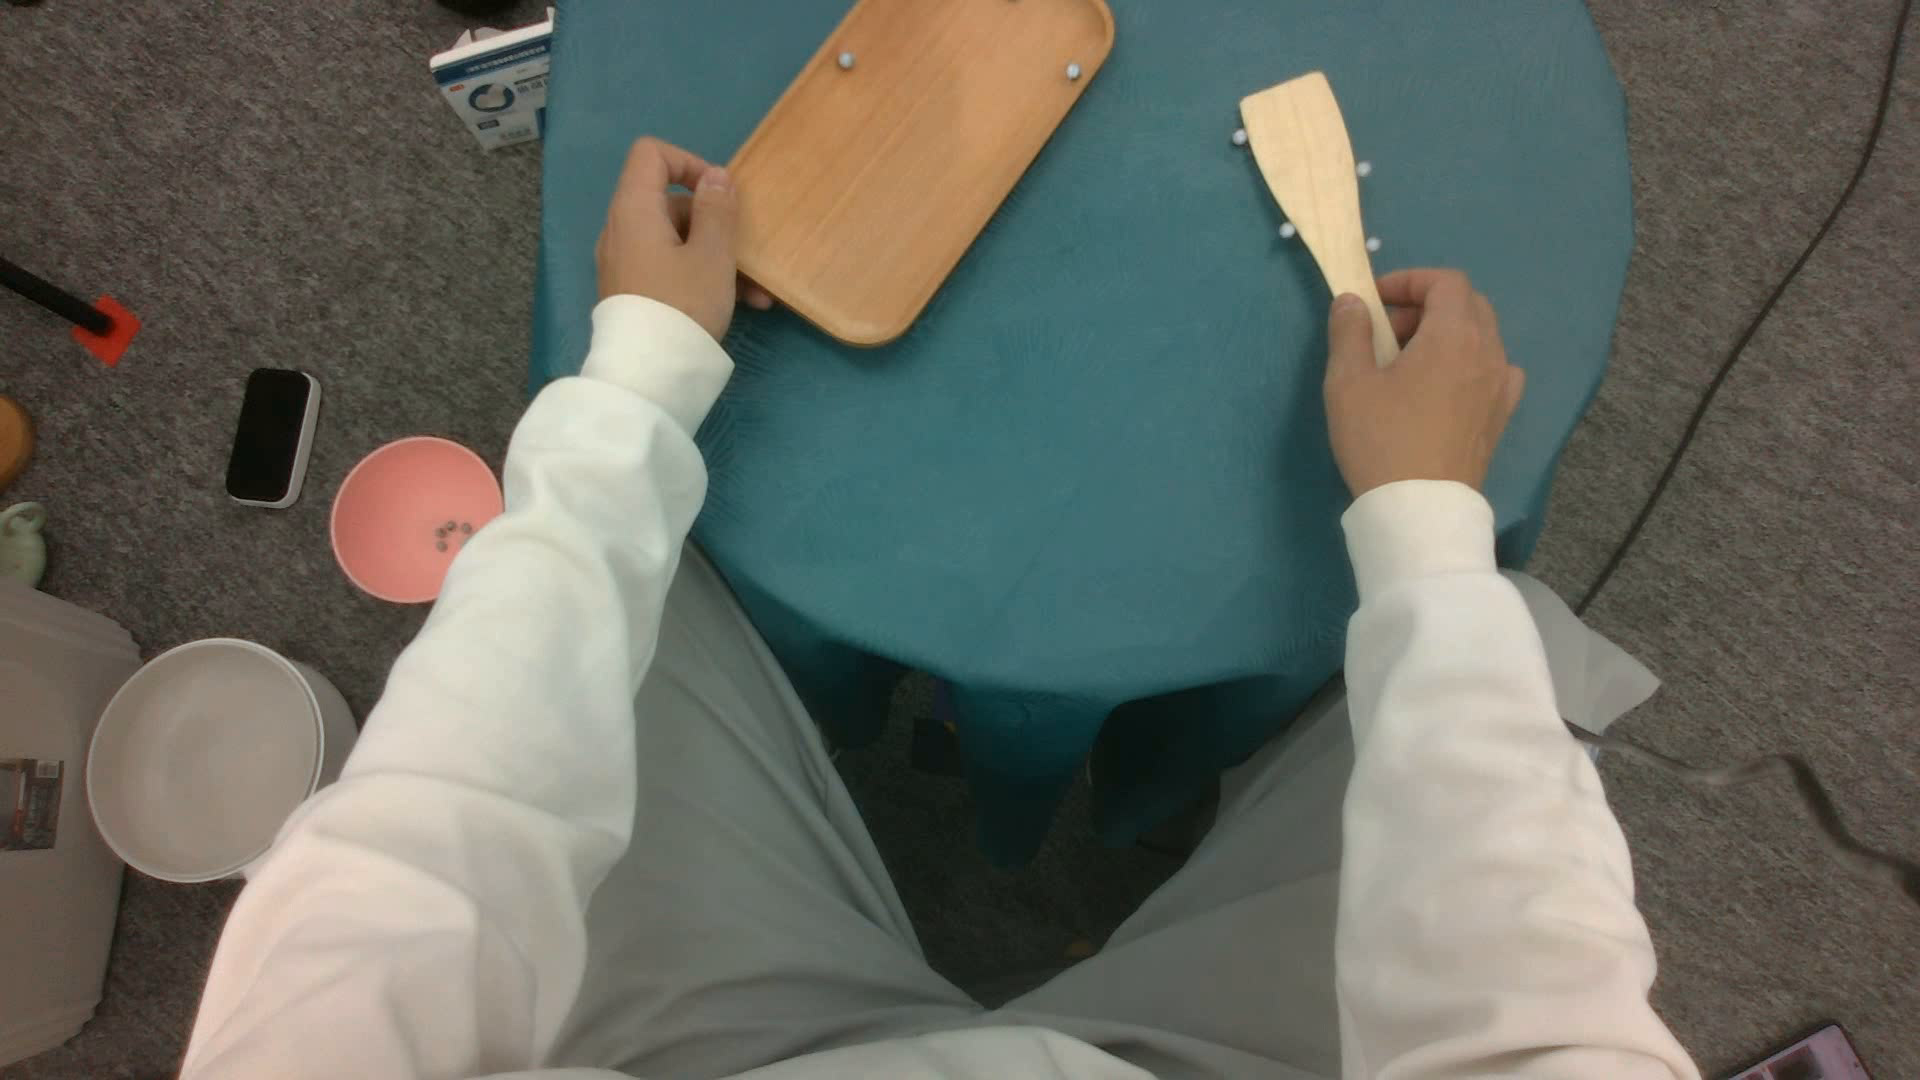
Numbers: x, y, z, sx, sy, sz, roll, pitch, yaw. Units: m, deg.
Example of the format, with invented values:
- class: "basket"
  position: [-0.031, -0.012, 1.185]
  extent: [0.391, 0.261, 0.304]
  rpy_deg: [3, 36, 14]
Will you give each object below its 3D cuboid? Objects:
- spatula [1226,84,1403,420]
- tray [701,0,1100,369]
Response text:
- class: "spatula"
  position: [0.196, -0.158, 0.745]
  extent: [0.050, 0.005, 0.208]
  rpy_deg: [-16, 69, 6]
- class: "tray"
  position: [-0.030, -0.214, 0.762]
  extent: [0.130, 0.023, 0.251]
  rpy_deg: [31, 76, 6]
